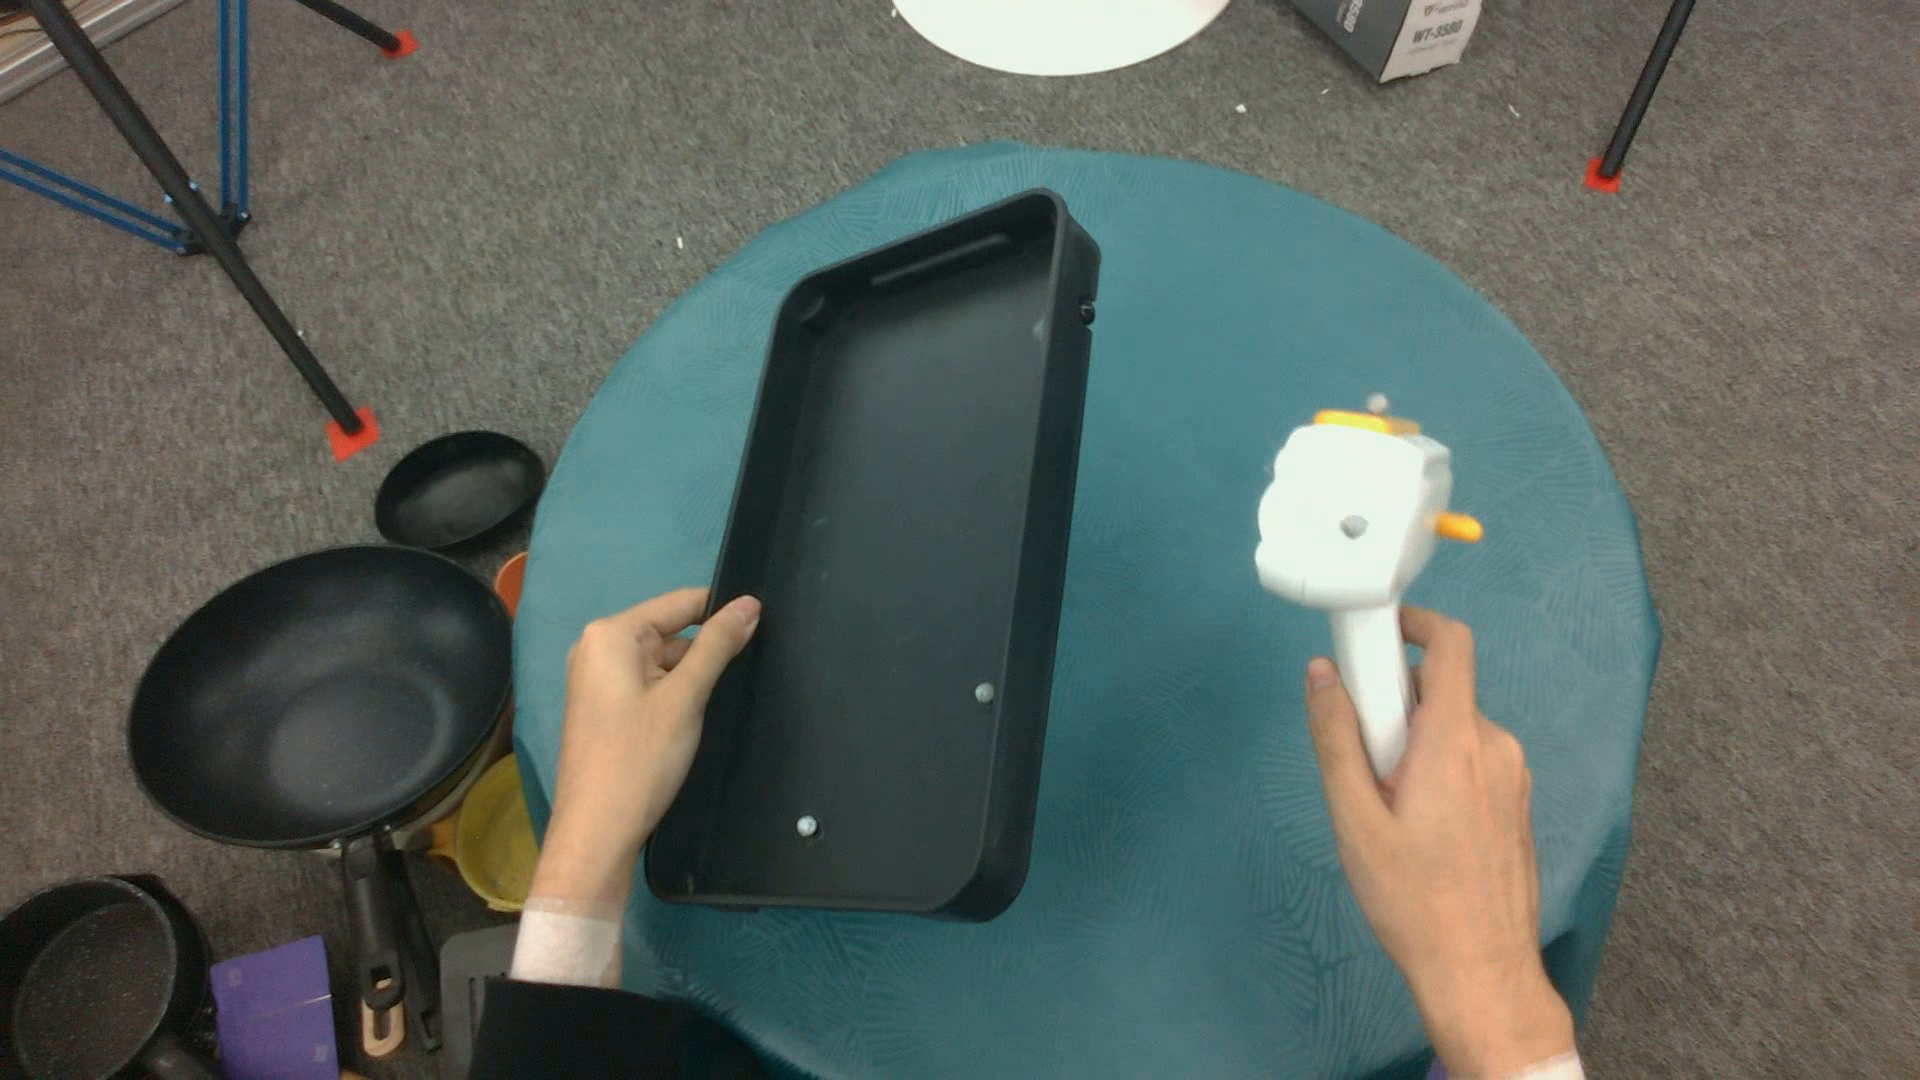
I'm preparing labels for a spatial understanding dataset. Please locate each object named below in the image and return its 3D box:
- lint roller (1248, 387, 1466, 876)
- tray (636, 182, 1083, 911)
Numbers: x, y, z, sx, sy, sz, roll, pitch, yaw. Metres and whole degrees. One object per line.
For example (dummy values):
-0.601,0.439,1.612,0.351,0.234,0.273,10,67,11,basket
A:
0.159,0.038,0.547,0.074,0.193,0.192,3,99,17,lint roller
-0.040,0.001,0.605,0.183,0.037,0.319,-11,59,36,tray
